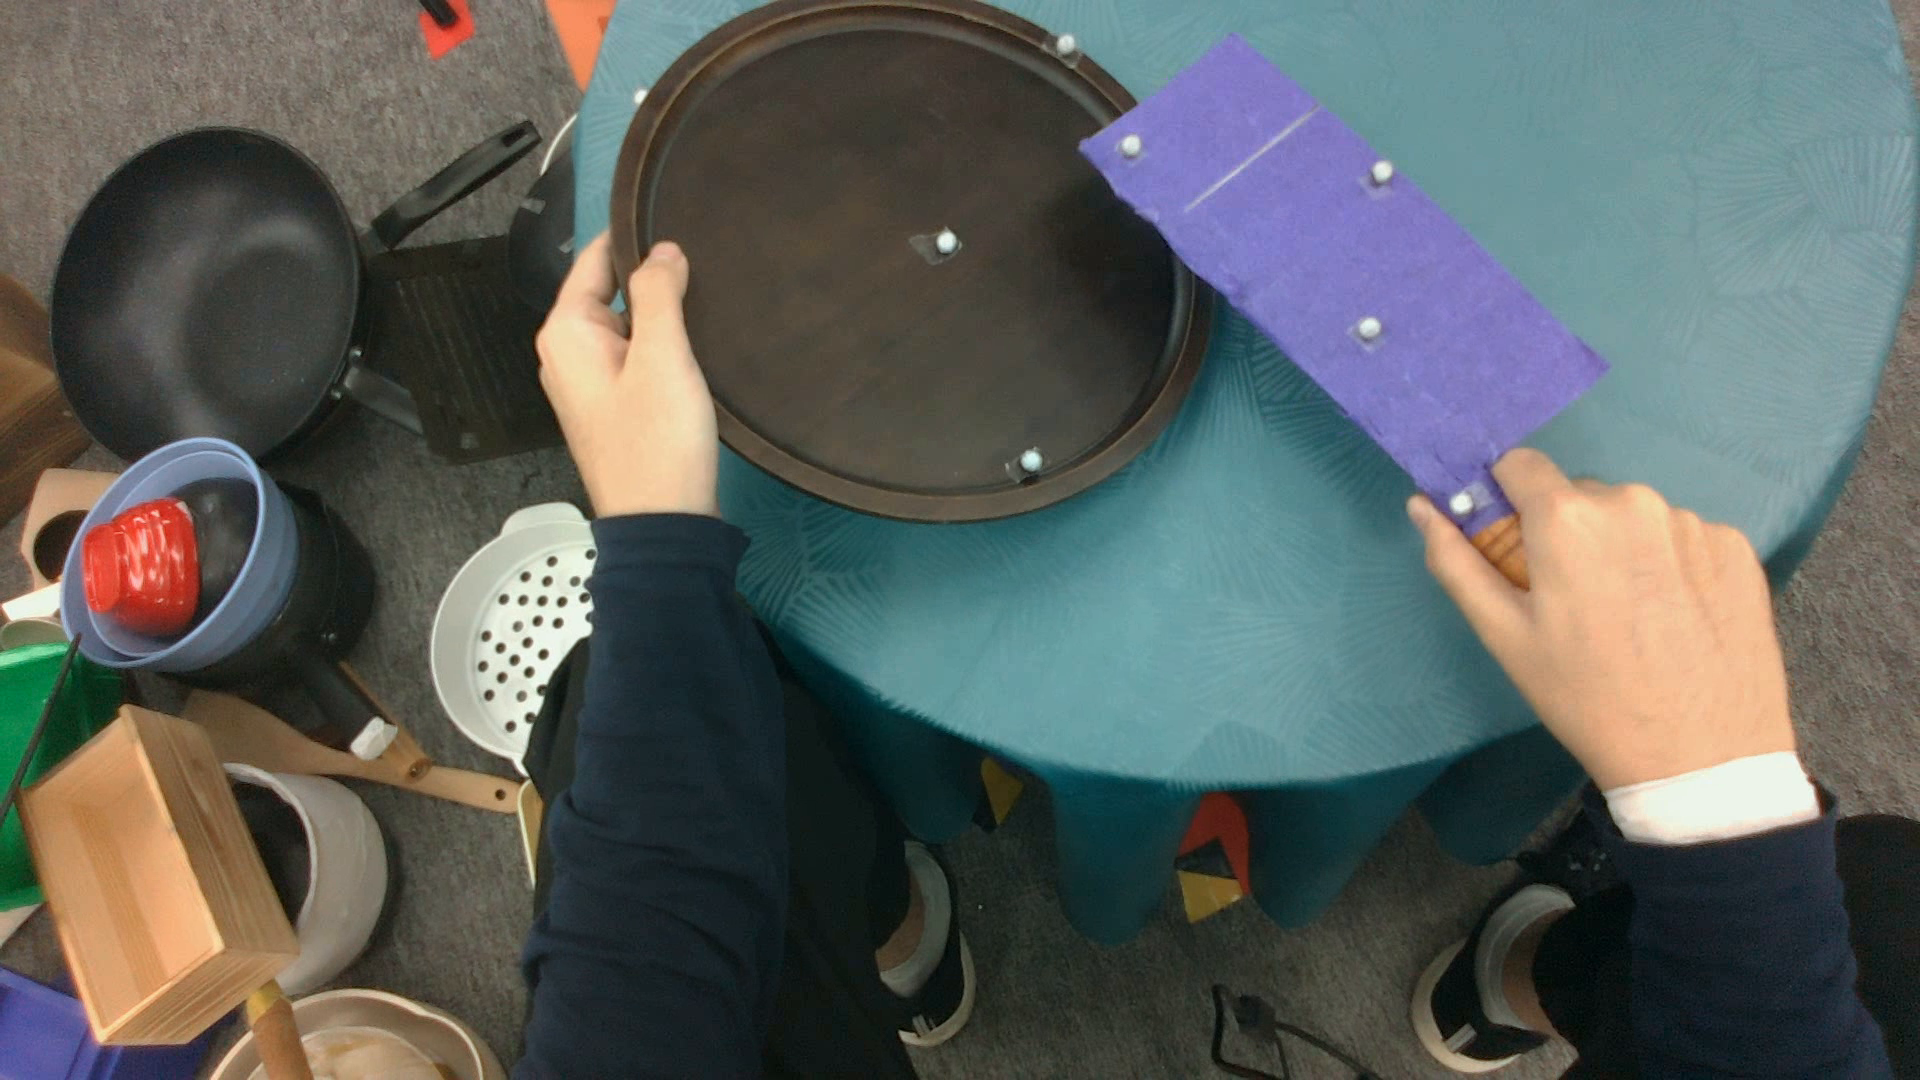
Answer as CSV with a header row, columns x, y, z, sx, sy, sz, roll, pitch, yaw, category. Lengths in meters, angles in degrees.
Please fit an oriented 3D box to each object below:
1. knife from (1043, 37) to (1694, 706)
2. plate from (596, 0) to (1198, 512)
x,y,z,sx,sy,sz,roll,pitch,yaw,category
0.169,-0.082,0.526,0.104,0.032,0.315,-37,73,-13,knife
-0.022,-0.128,0.578,0.255,0.029,0.255,5,67,-12,plate
